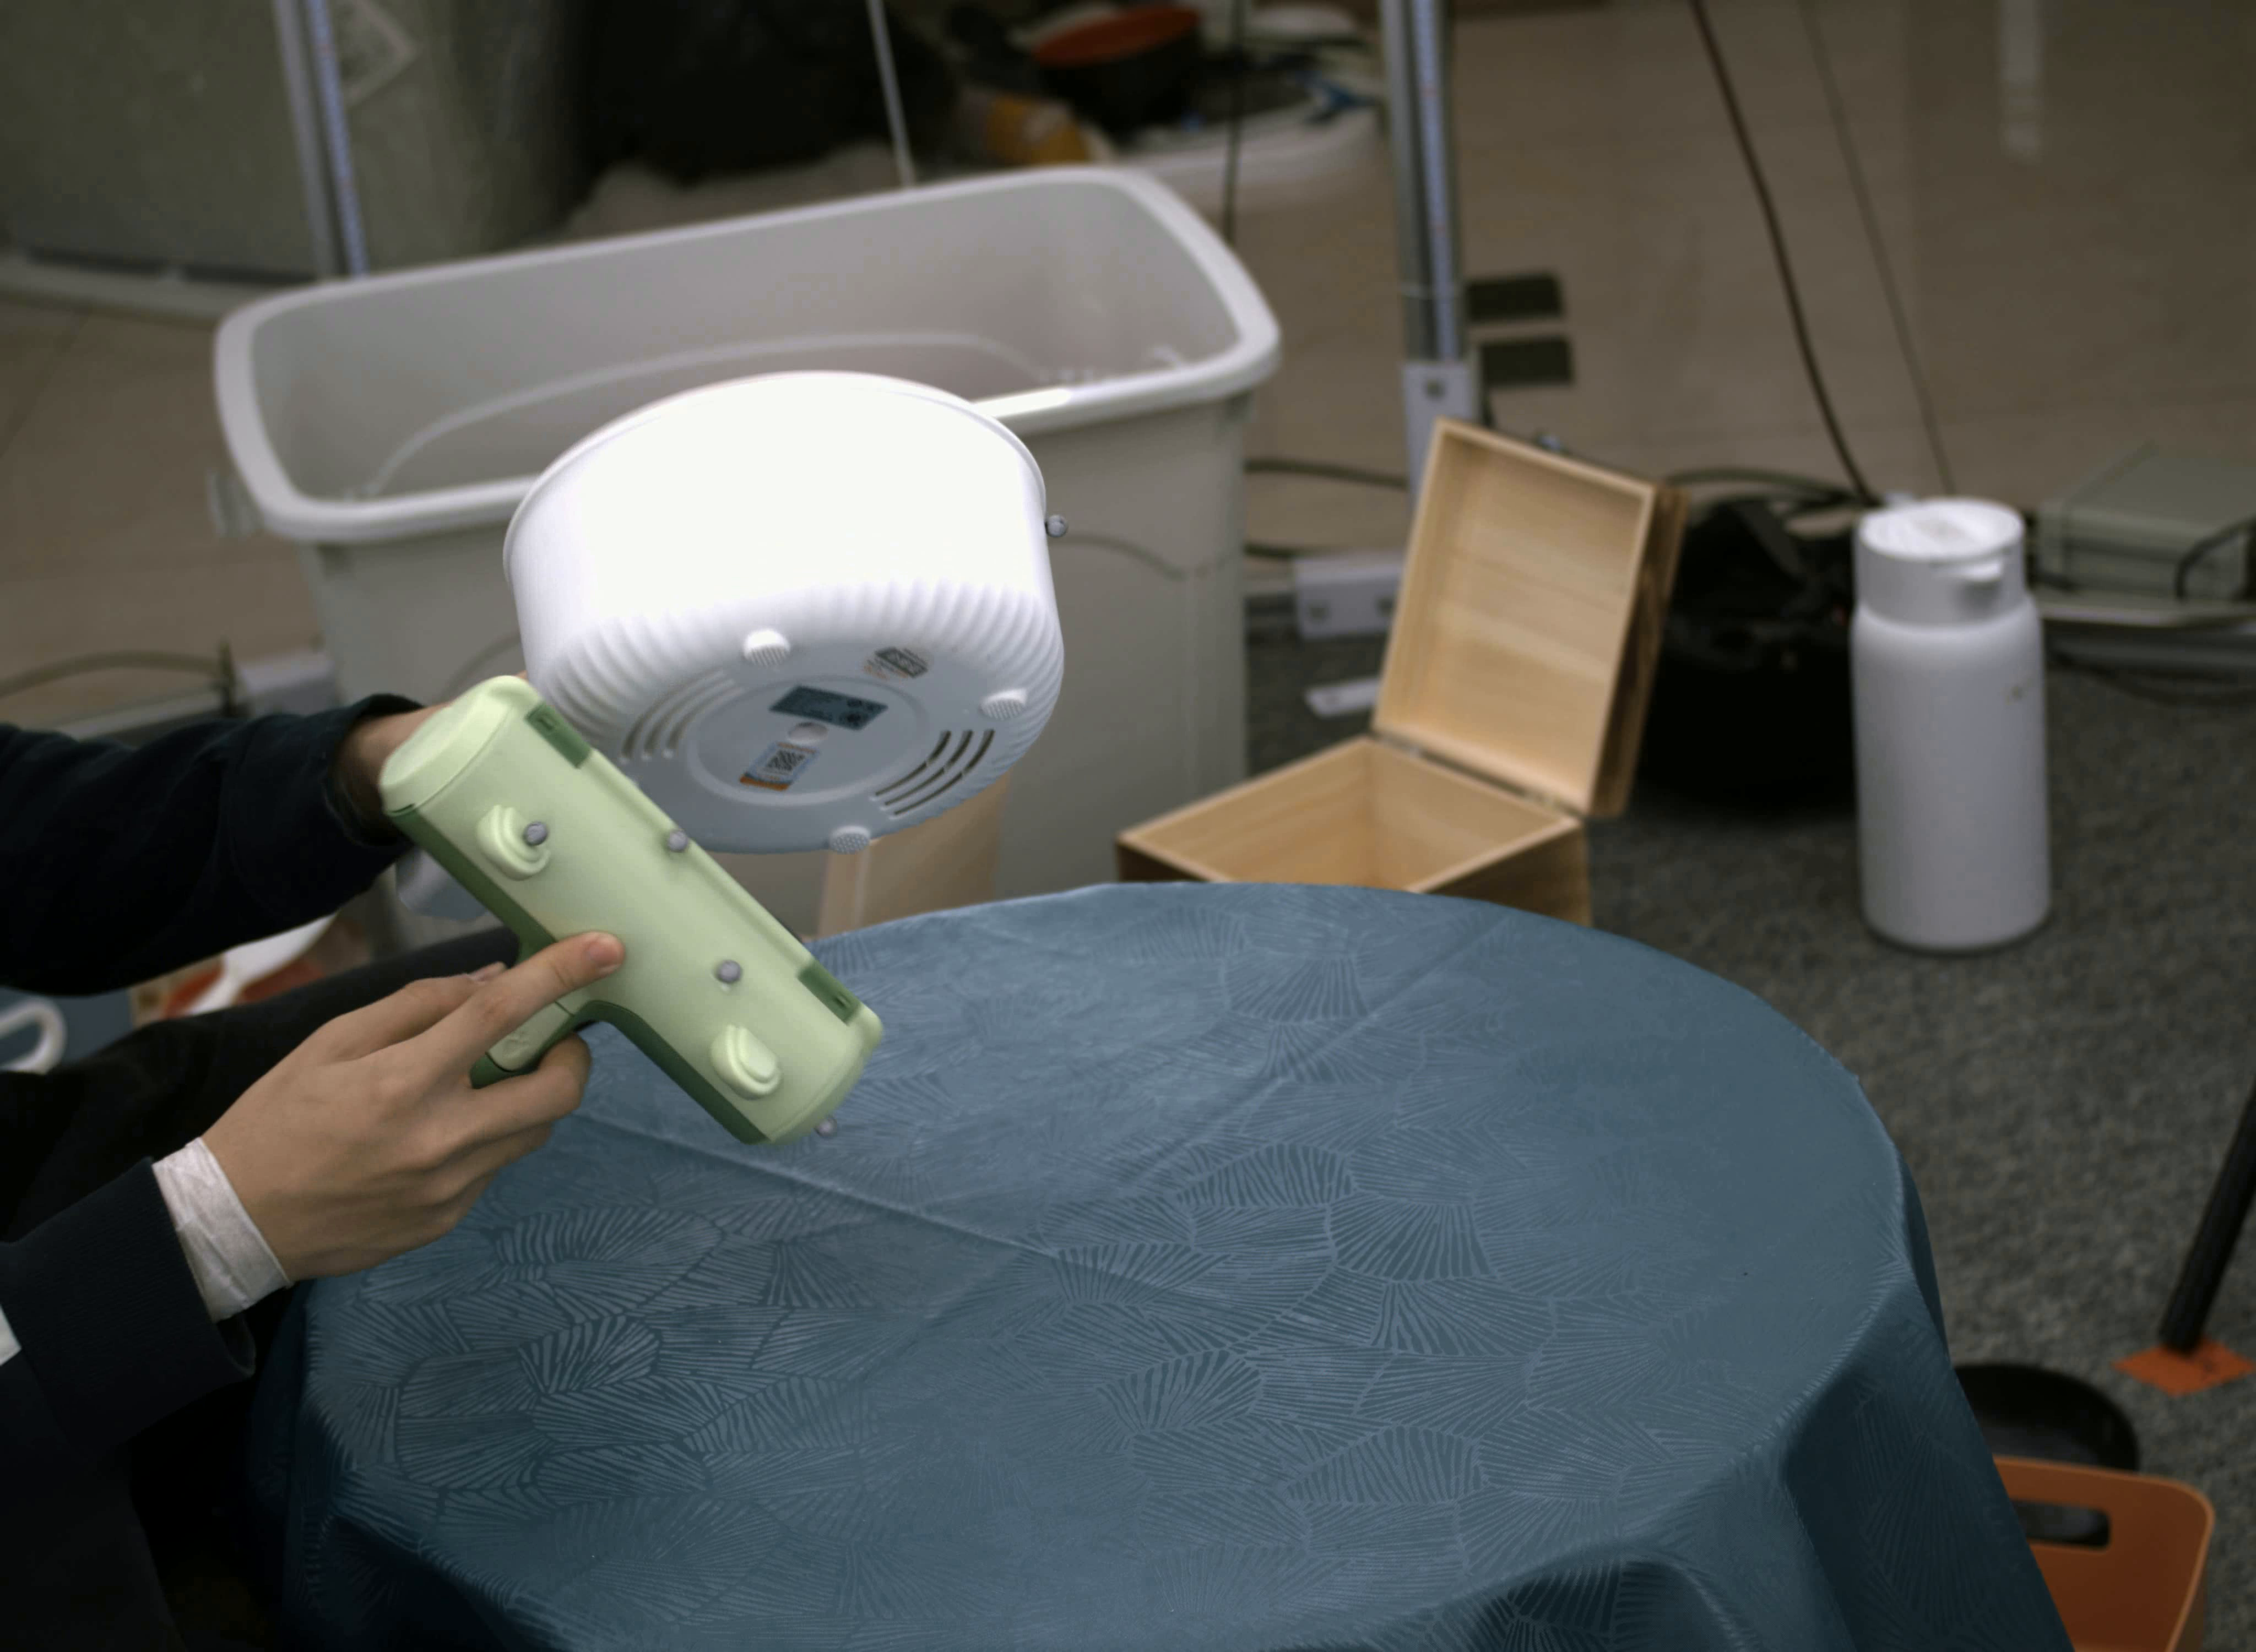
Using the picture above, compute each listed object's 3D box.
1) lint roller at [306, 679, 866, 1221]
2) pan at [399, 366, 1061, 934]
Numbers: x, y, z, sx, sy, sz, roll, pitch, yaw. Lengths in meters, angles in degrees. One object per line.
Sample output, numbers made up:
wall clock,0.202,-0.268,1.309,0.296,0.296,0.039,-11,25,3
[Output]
lint roller,-0.215,0.075,1.976,0.183,0.200,0.081,-48,23,-4
pan,-0.168,-0.032,2.111,0.202,0.359,0.100,12,53,-35
